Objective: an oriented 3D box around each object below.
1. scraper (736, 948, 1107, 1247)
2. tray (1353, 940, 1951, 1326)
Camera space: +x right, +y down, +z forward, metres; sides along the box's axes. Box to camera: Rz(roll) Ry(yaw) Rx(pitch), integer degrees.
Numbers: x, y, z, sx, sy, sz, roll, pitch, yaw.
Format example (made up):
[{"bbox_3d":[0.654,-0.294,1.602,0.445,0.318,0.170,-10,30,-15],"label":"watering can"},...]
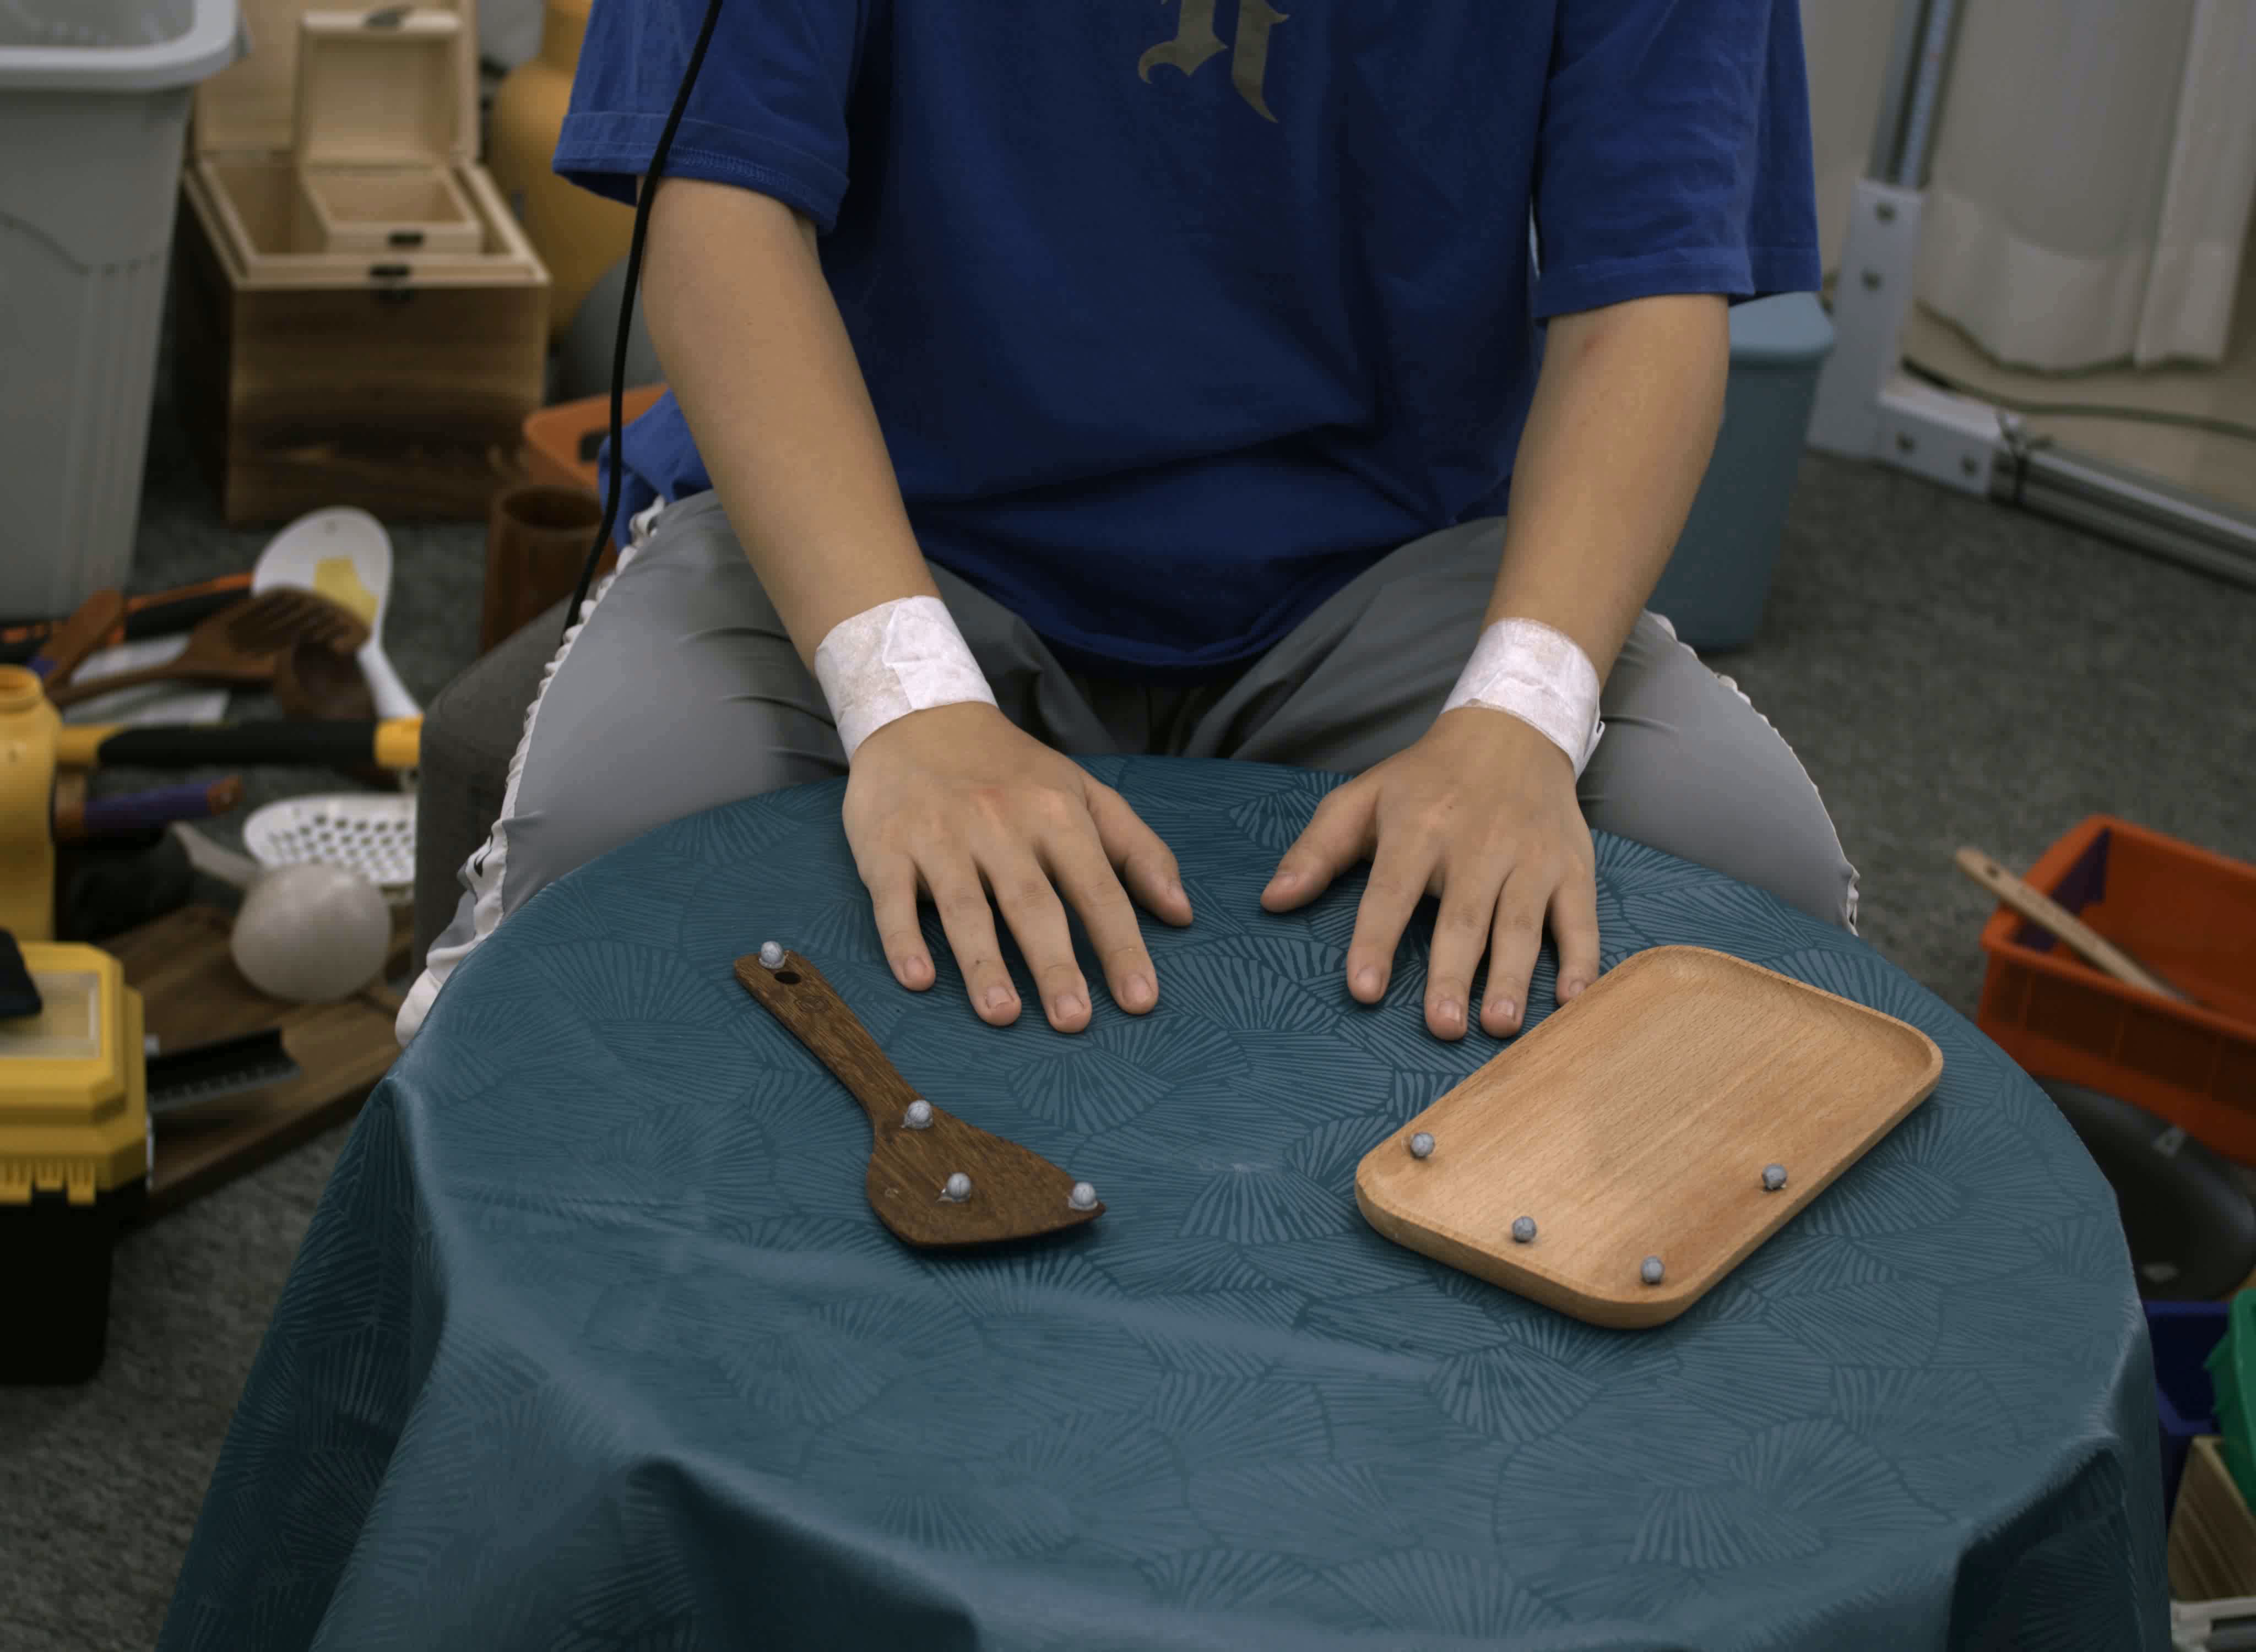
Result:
[{"bbox_3d":[-0.083,0.092,1.837,0.075,0.011,0.213,-7,29,-27],"label":"scraper"},{"bbox_3d":[0.186,0.105,1.863,0.131,0.023,0.250,24,31,26],"label":"tray"}]
